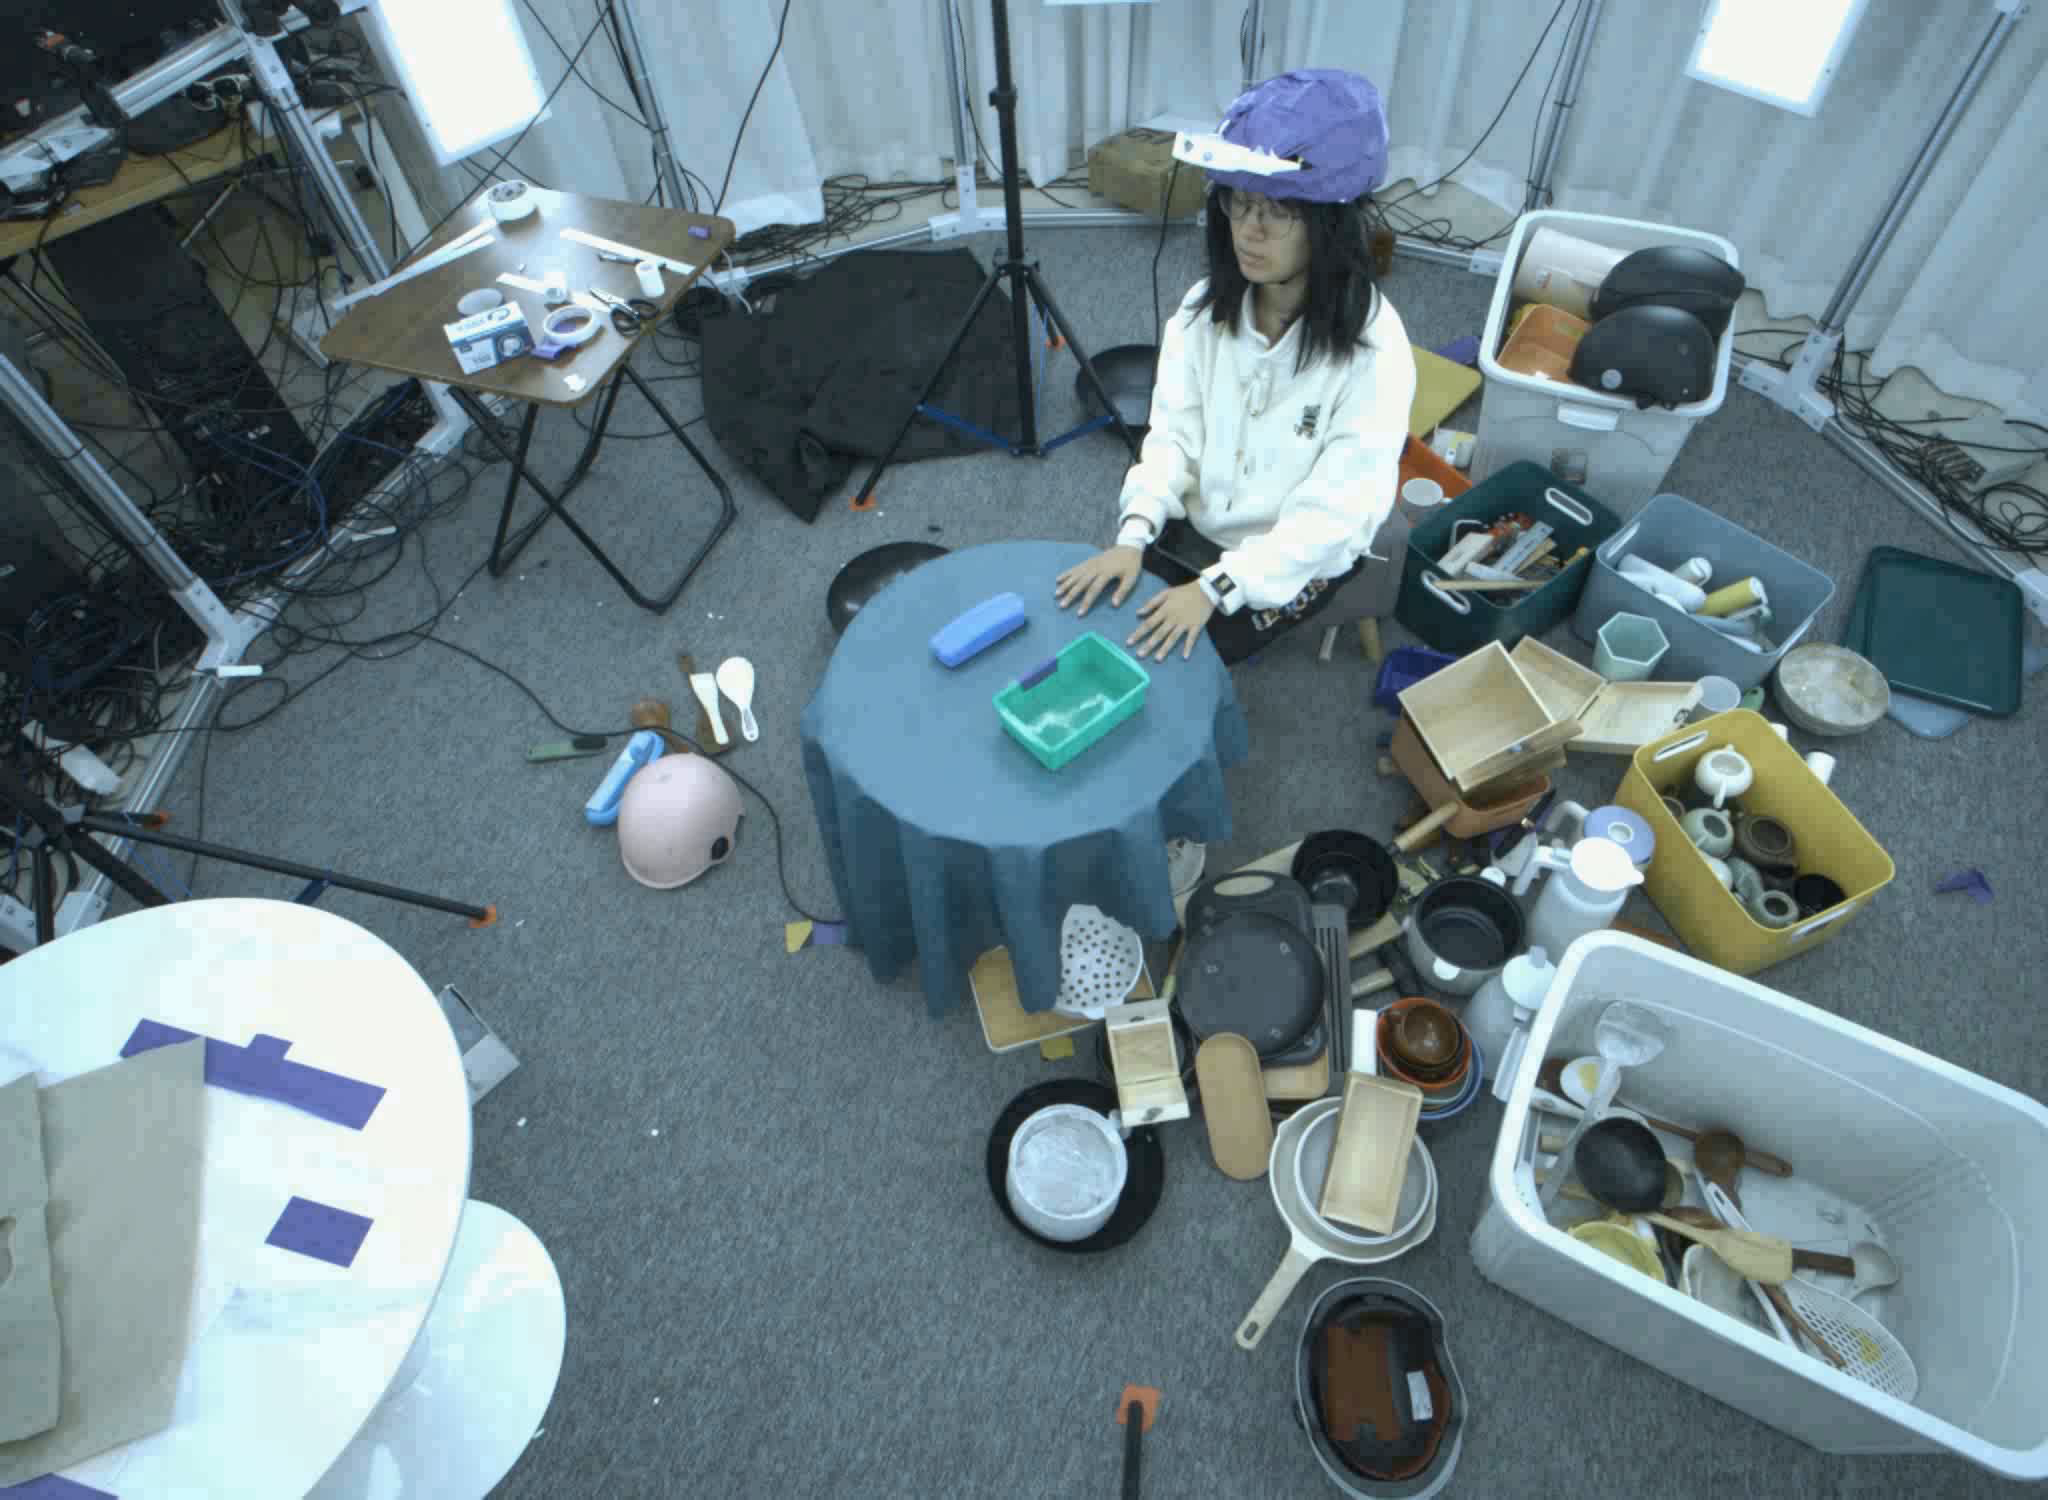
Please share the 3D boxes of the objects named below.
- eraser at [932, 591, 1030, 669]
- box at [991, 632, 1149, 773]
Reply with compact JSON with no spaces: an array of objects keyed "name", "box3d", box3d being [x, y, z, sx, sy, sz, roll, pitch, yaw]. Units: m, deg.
[{"name":"eraser","box3d":[-0.067,-0.191,1.896,0.163,0.048,0.053,-34,60,-20]},{"name":"box","box3d":[0.069,-0.067,1.795,0.212,0.066,0.136,-38,60,-21]}]
